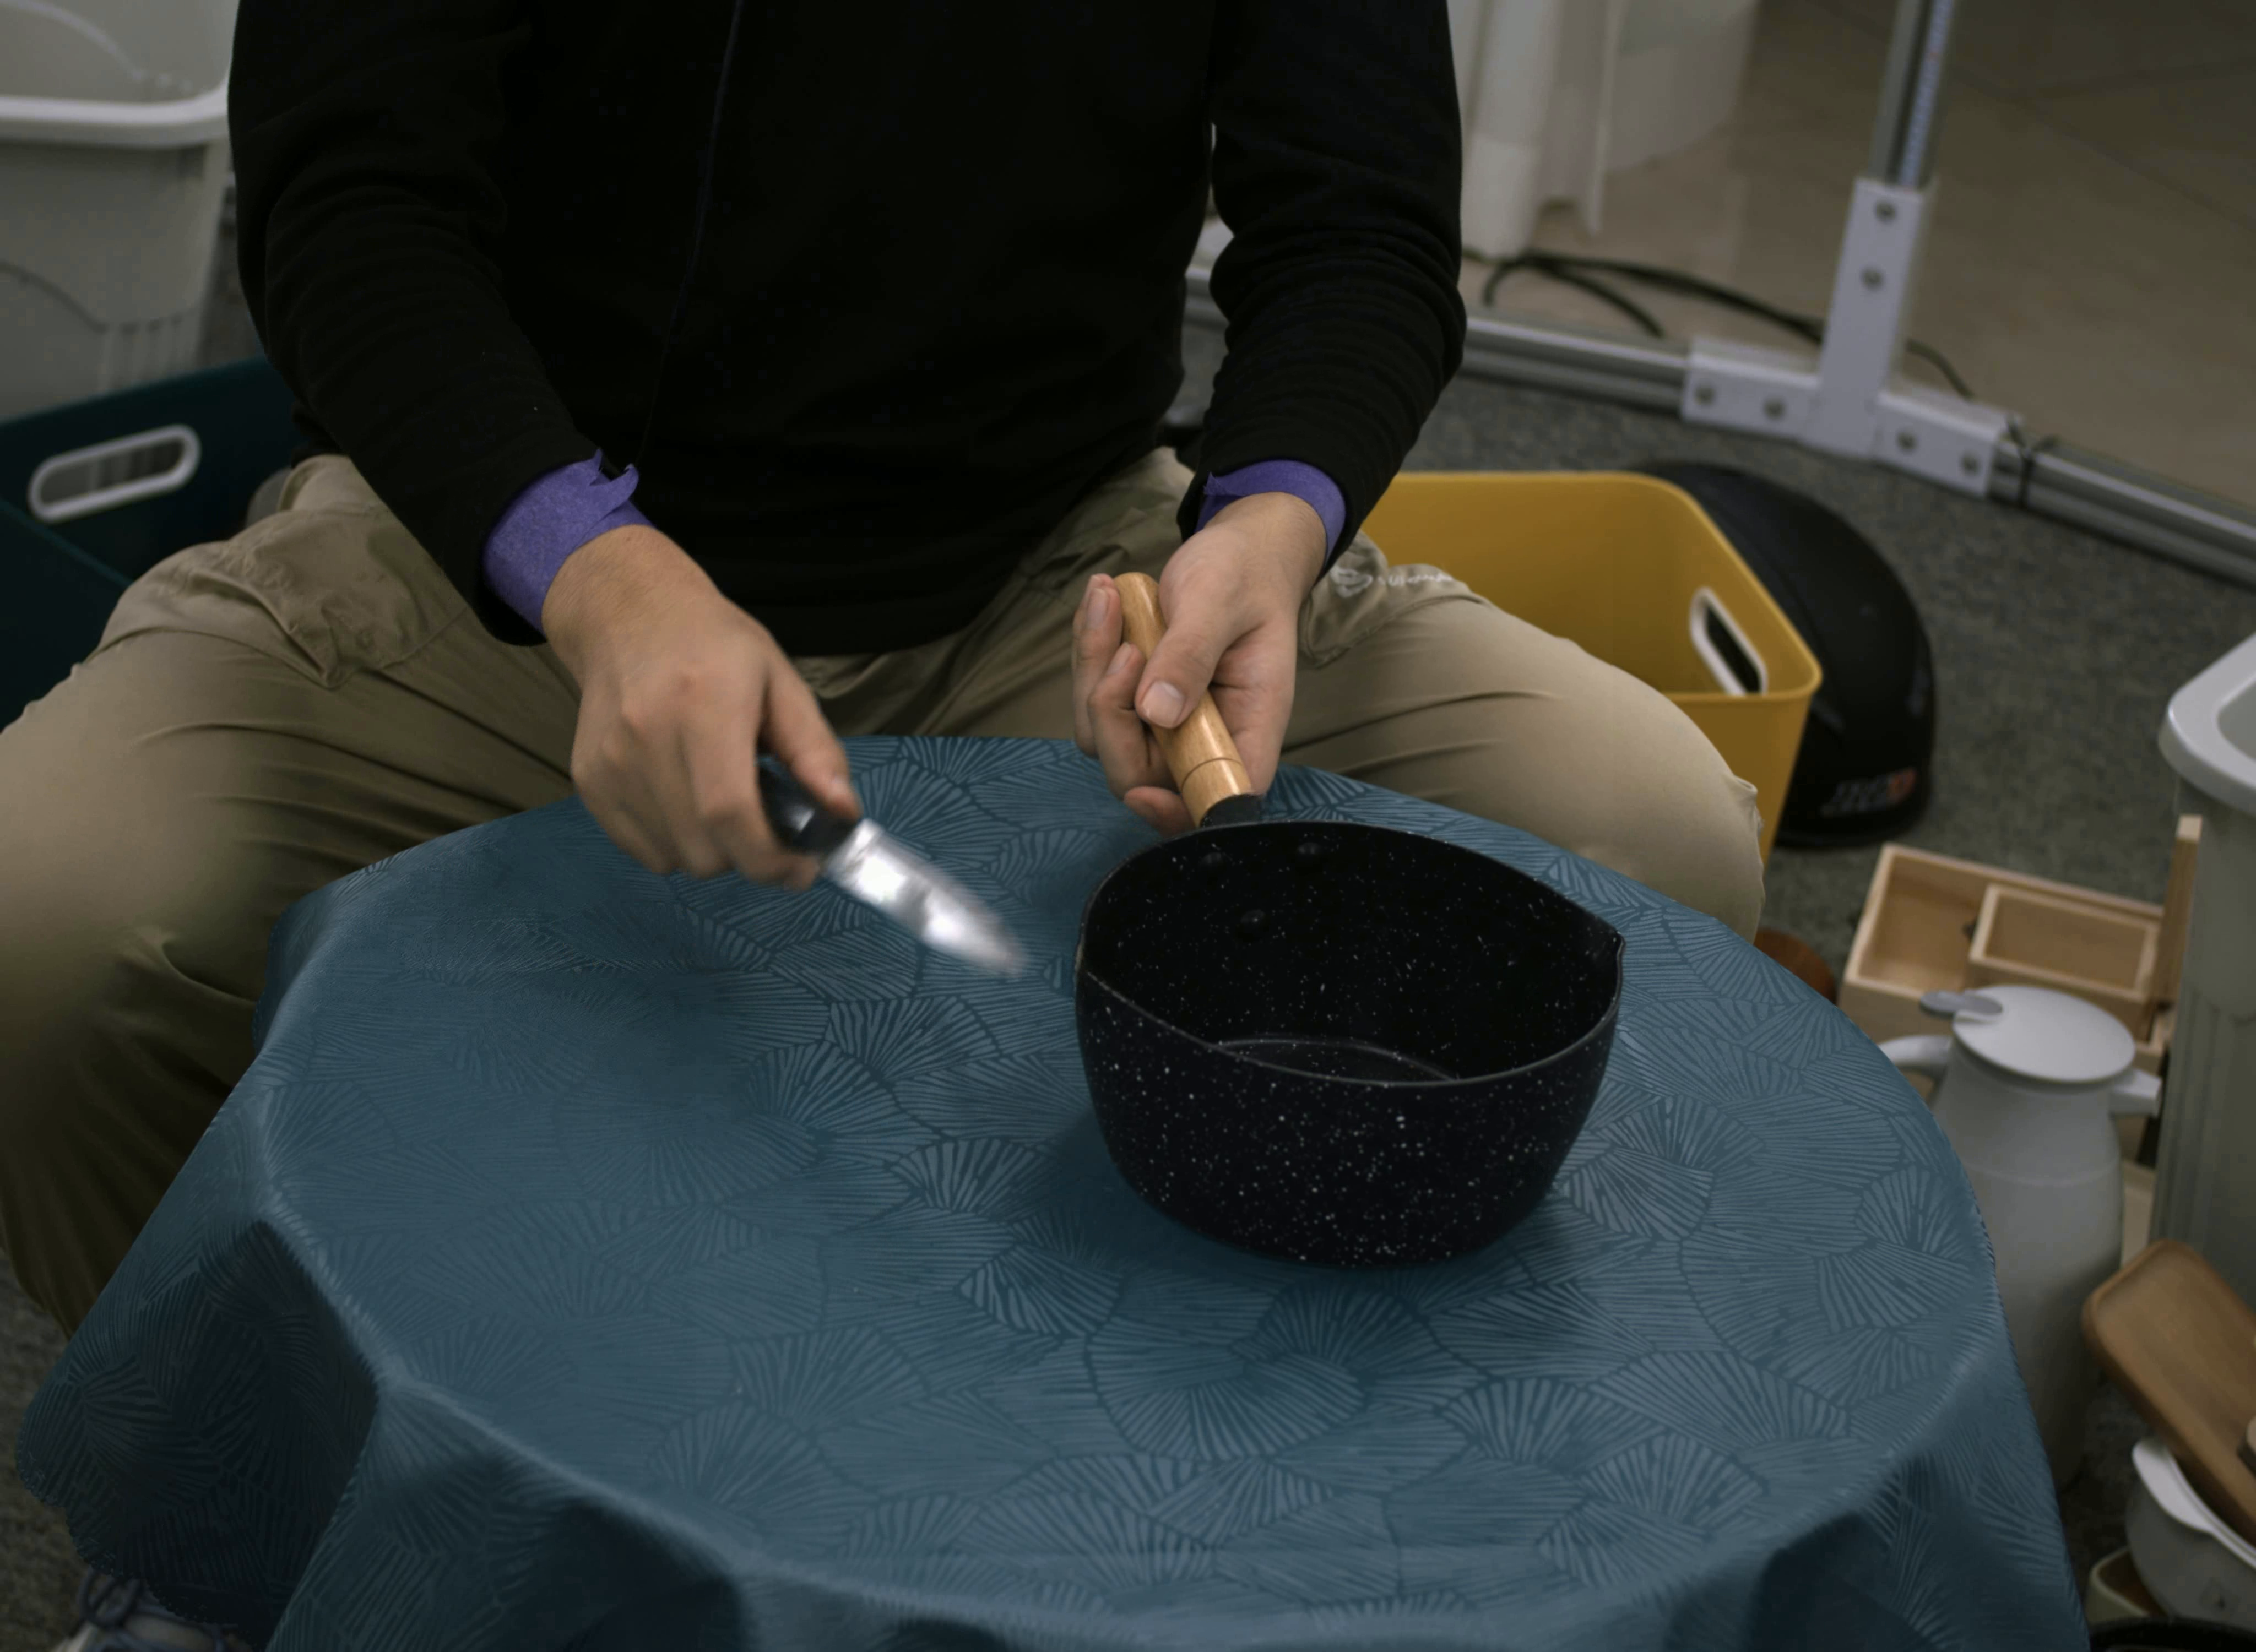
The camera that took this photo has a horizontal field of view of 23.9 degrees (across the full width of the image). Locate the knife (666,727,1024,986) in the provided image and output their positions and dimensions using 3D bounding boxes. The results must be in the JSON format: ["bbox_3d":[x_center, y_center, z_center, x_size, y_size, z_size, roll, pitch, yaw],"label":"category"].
[{"bbox_3d":[-0.099,0.013,1.813,0.024,0.016,0.240,-37,35,-15],"label":"knife"}]

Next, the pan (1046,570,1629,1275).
[{"bbox_3d":[0.046,0.031,1.880,0.206,0.108,0.346,-4,30,-19],"label":"pan"}]
